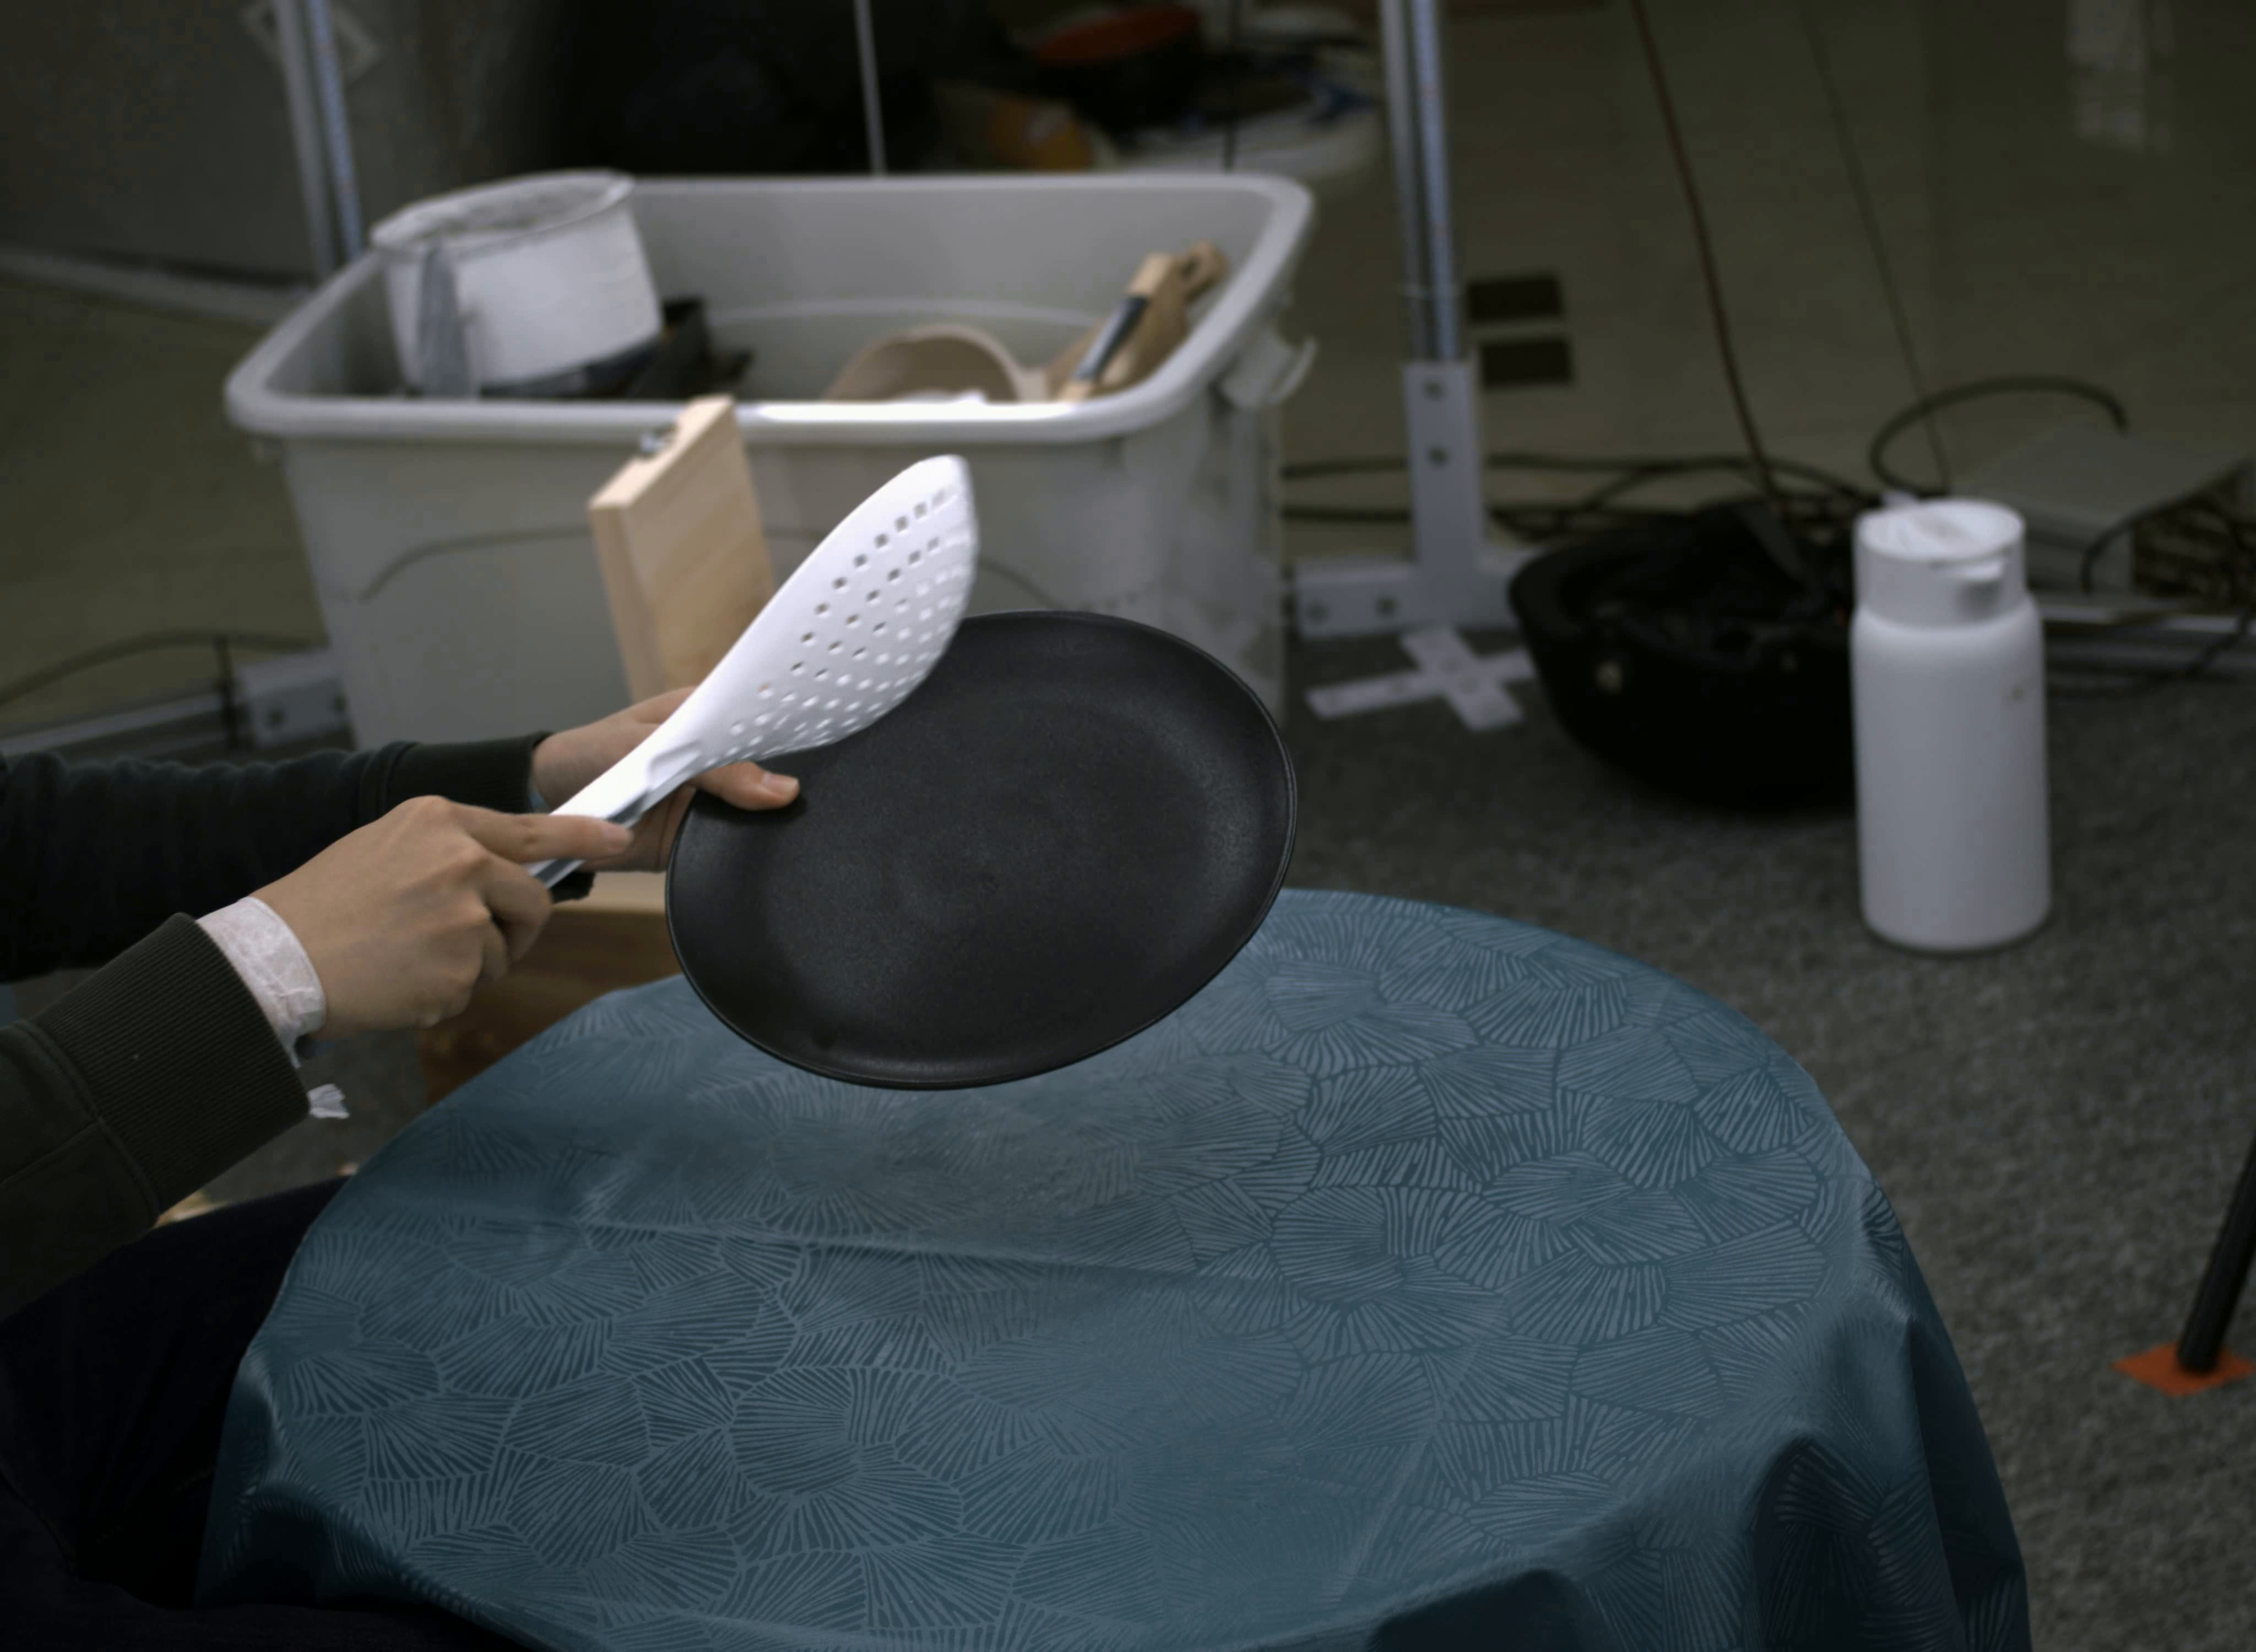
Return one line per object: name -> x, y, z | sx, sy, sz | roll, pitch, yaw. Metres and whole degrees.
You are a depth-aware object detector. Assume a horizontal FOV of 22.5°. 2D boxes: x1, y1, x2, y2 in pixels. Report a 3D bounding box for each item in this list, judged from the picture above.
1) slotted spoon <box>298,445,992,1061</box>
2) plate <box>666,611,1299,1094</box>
slotted spoon -> -0.160, -0.022, 1.970 | 0.346, 0.138, 0.045 | -34, 69, -33
plate -> -0.054, 0.013, 2.137 | 0.244, 0.024, 0.240 | -7, 48, 8
